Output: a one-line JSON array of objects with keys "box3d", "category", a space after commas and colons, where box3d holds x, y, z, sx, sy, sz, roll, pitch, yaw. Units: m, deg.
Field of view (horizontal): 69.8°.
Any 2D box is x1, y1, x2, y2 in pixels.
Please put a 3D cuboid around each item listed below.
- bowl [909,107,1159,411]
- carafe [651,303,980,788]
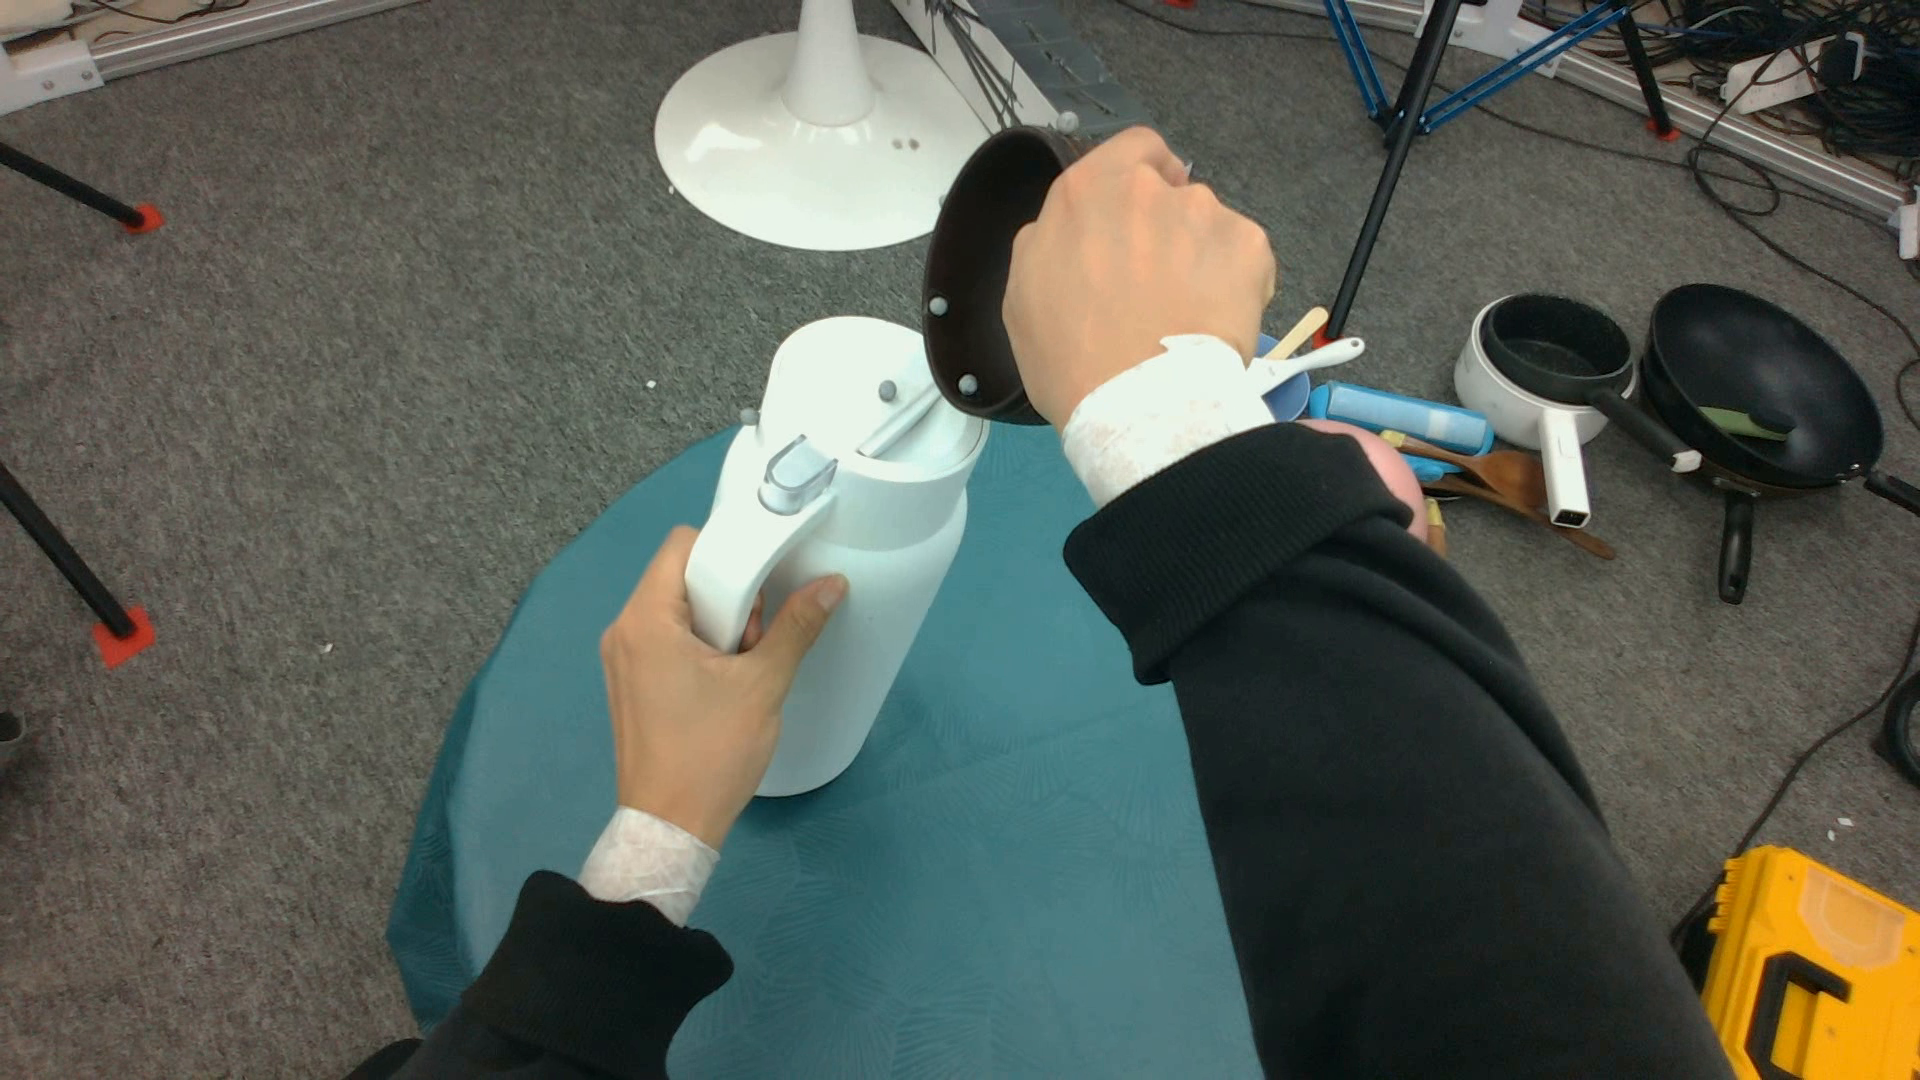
[{"box3d": [0.036, -0.110, 0.560, 0.070, 0.117, 0.118, 3, 50, -32], "category": "bowl"}, {"box3d": [-0.085, 0.022, 0.678, 0.124, 0.267, 0.174, 36, 47, 6], "category": "carafe"}]
